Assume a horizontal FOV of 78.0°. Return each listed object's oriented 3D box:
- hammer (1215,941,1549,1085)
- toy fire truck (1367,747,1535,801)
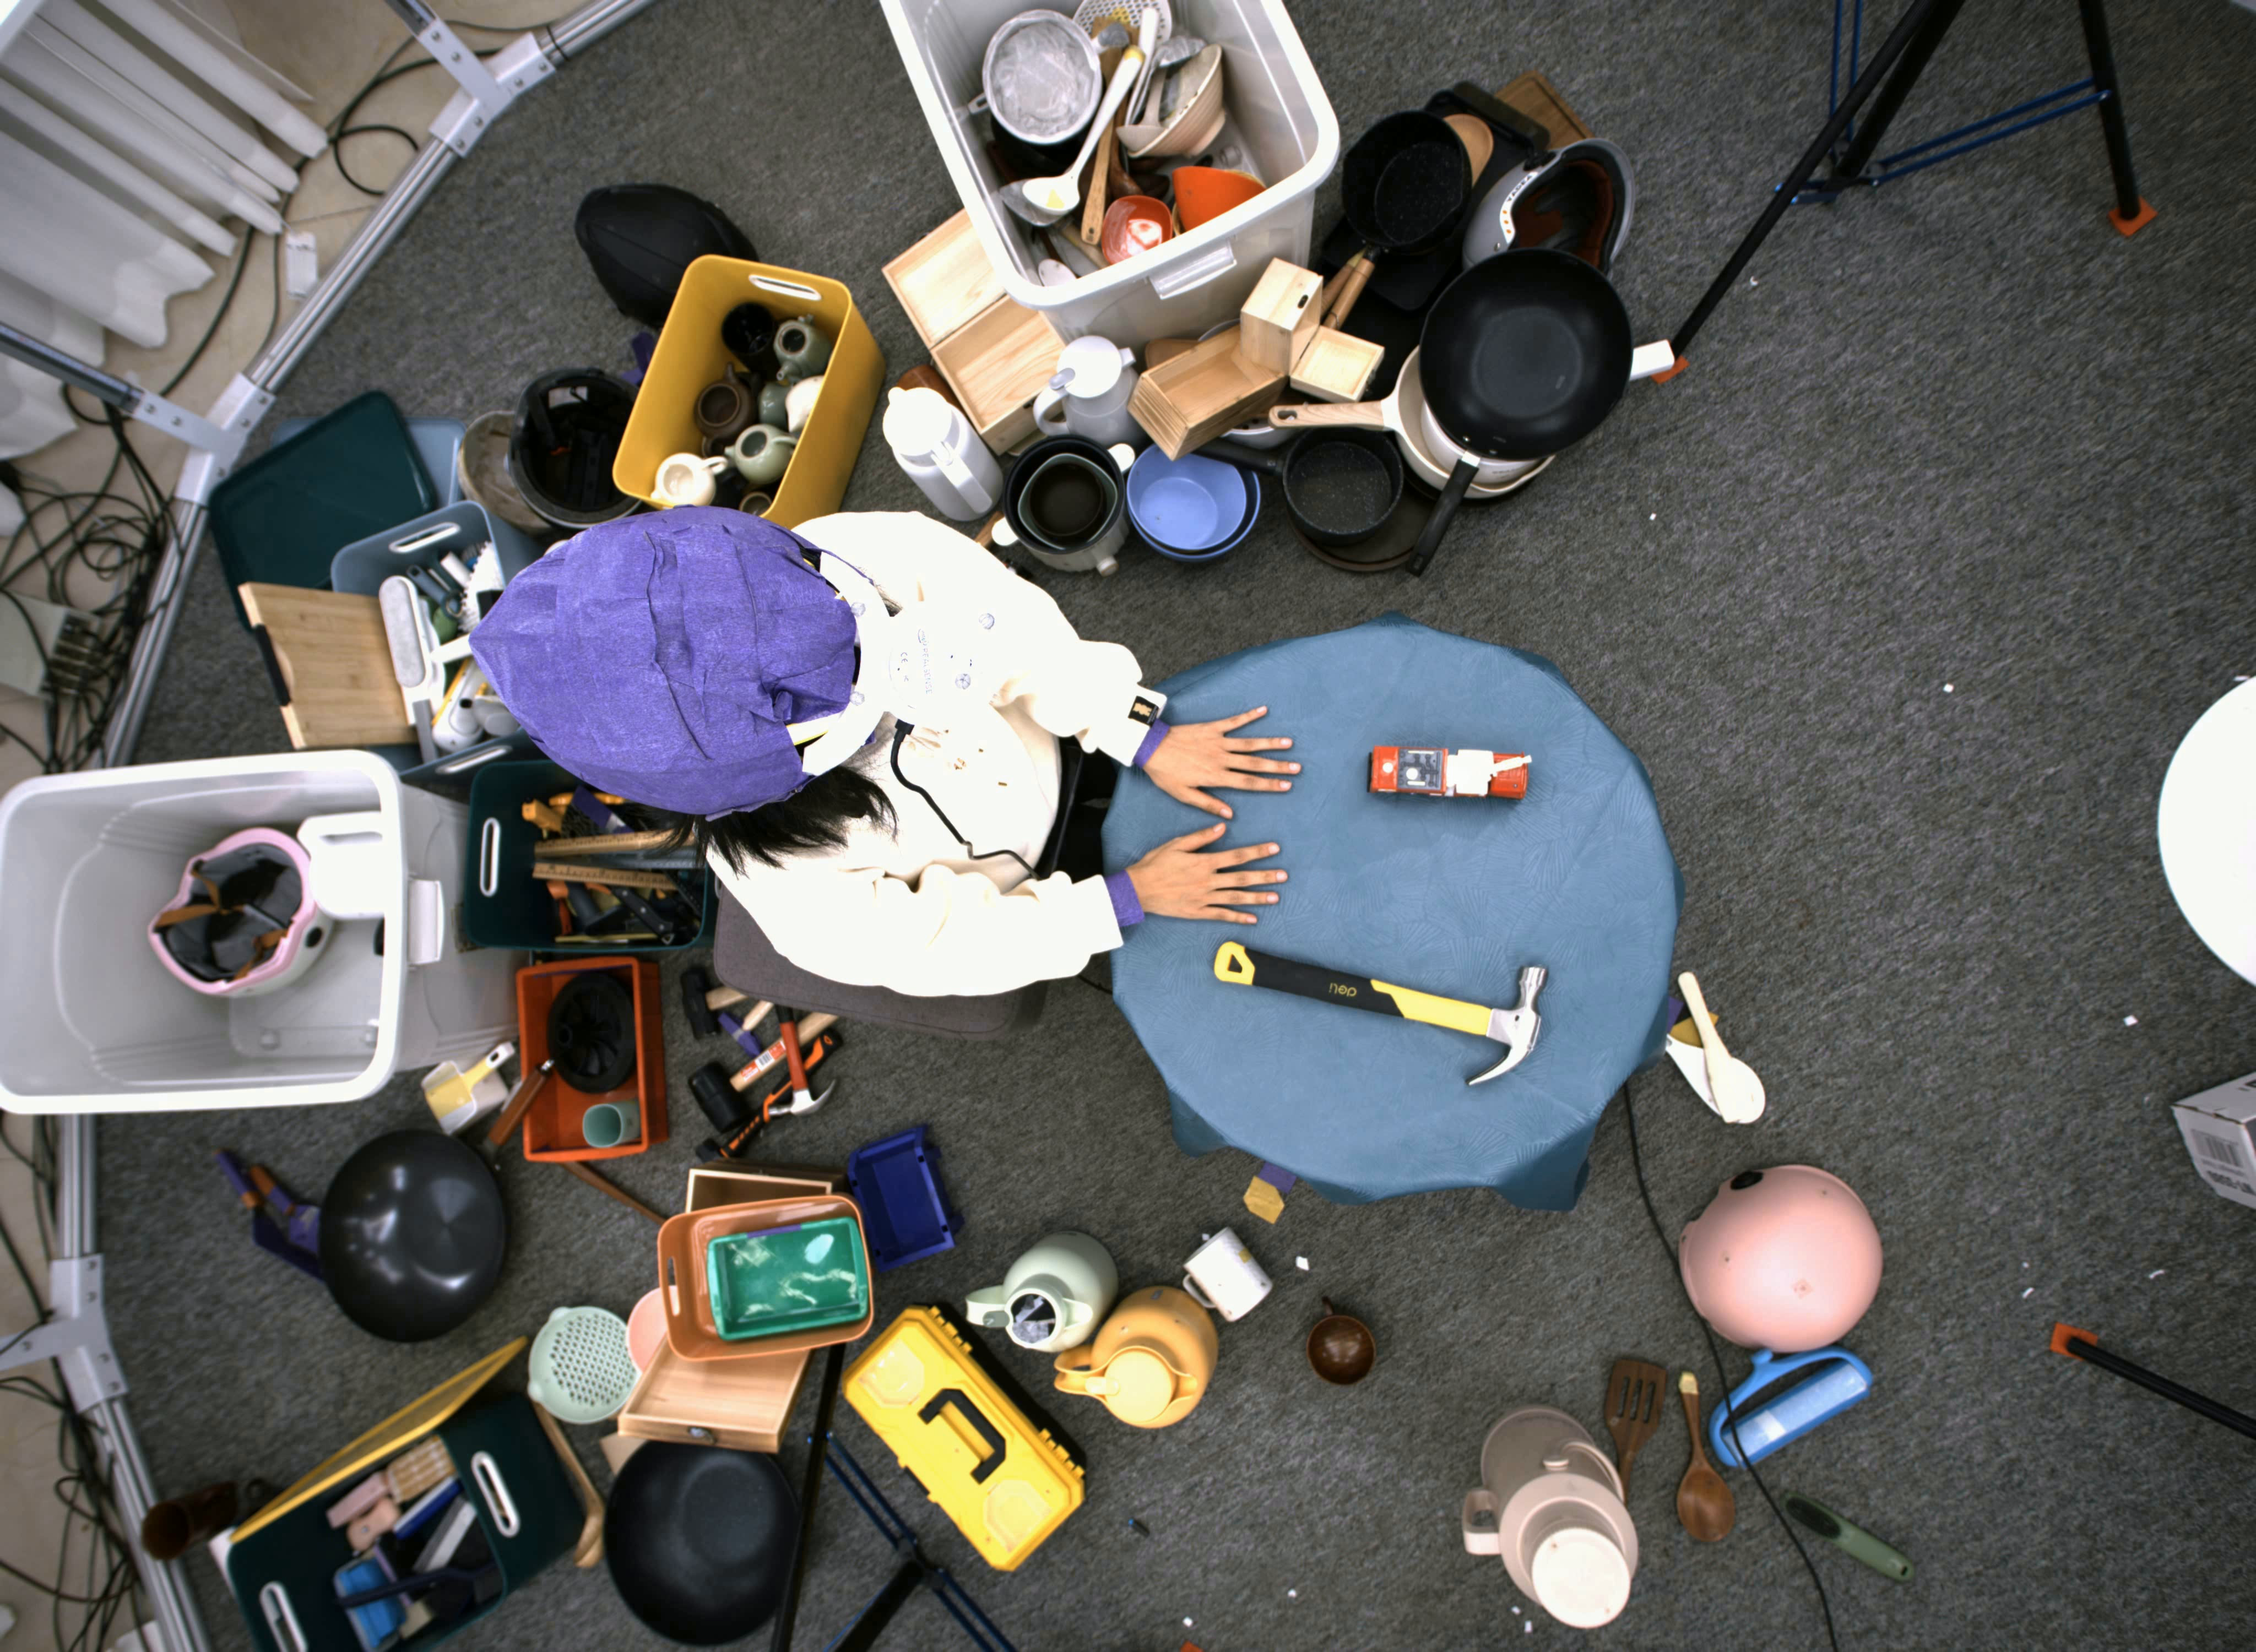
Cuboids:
[{"bbox_3d":[0.256,0.175,1.438,0.339,0.032,0.131,13,90,10],"label":"hammer"},{"bbox_3d":[0.333,-0.057,1.426,0.168,0.070,0.054,2,85,12],"label":"toy fire truck"}]
